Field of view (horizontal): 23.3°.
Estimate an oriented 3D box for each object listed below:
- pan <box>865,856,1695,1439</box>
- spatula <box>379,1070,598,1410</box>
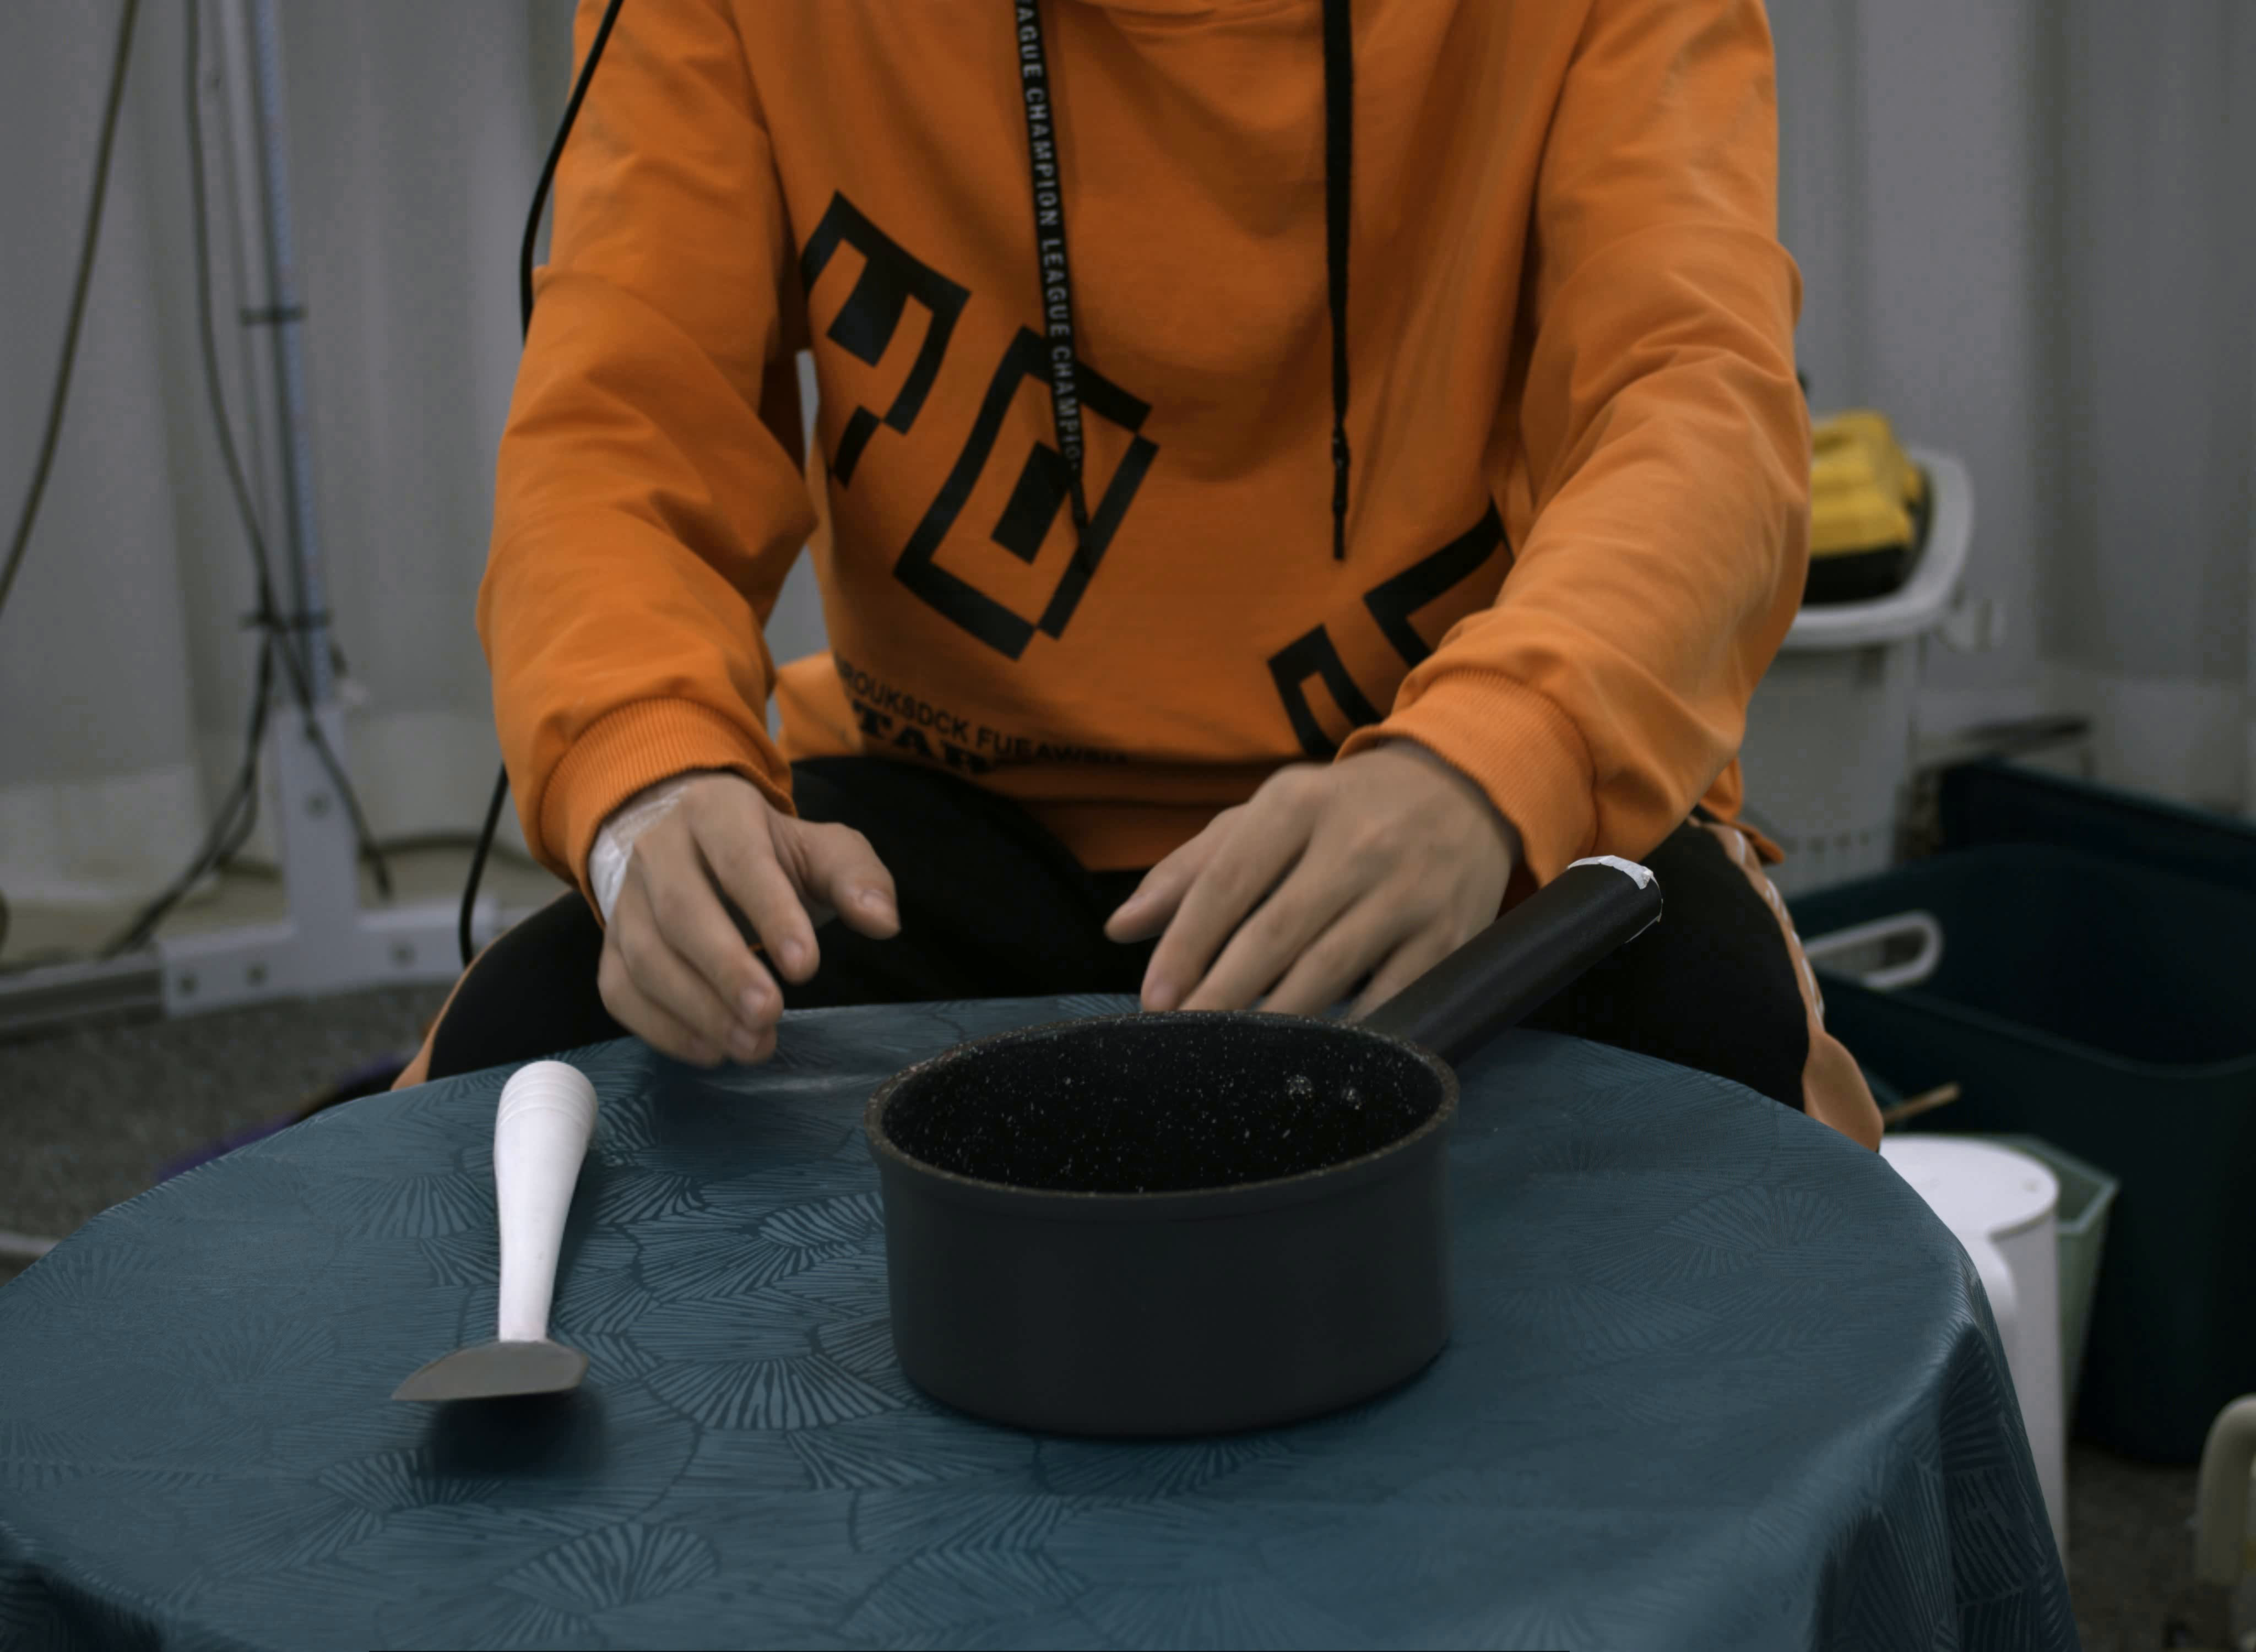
[{"bbox_3d":[0.062,0.091,1.627,0.173,0.086,0.328,10,22,39],"label":"pan"},{"bbox_3d":[-0.182,0.130,1.634,0.058,0.032,0.289,0,14,-3],"label":"spatula"}]
